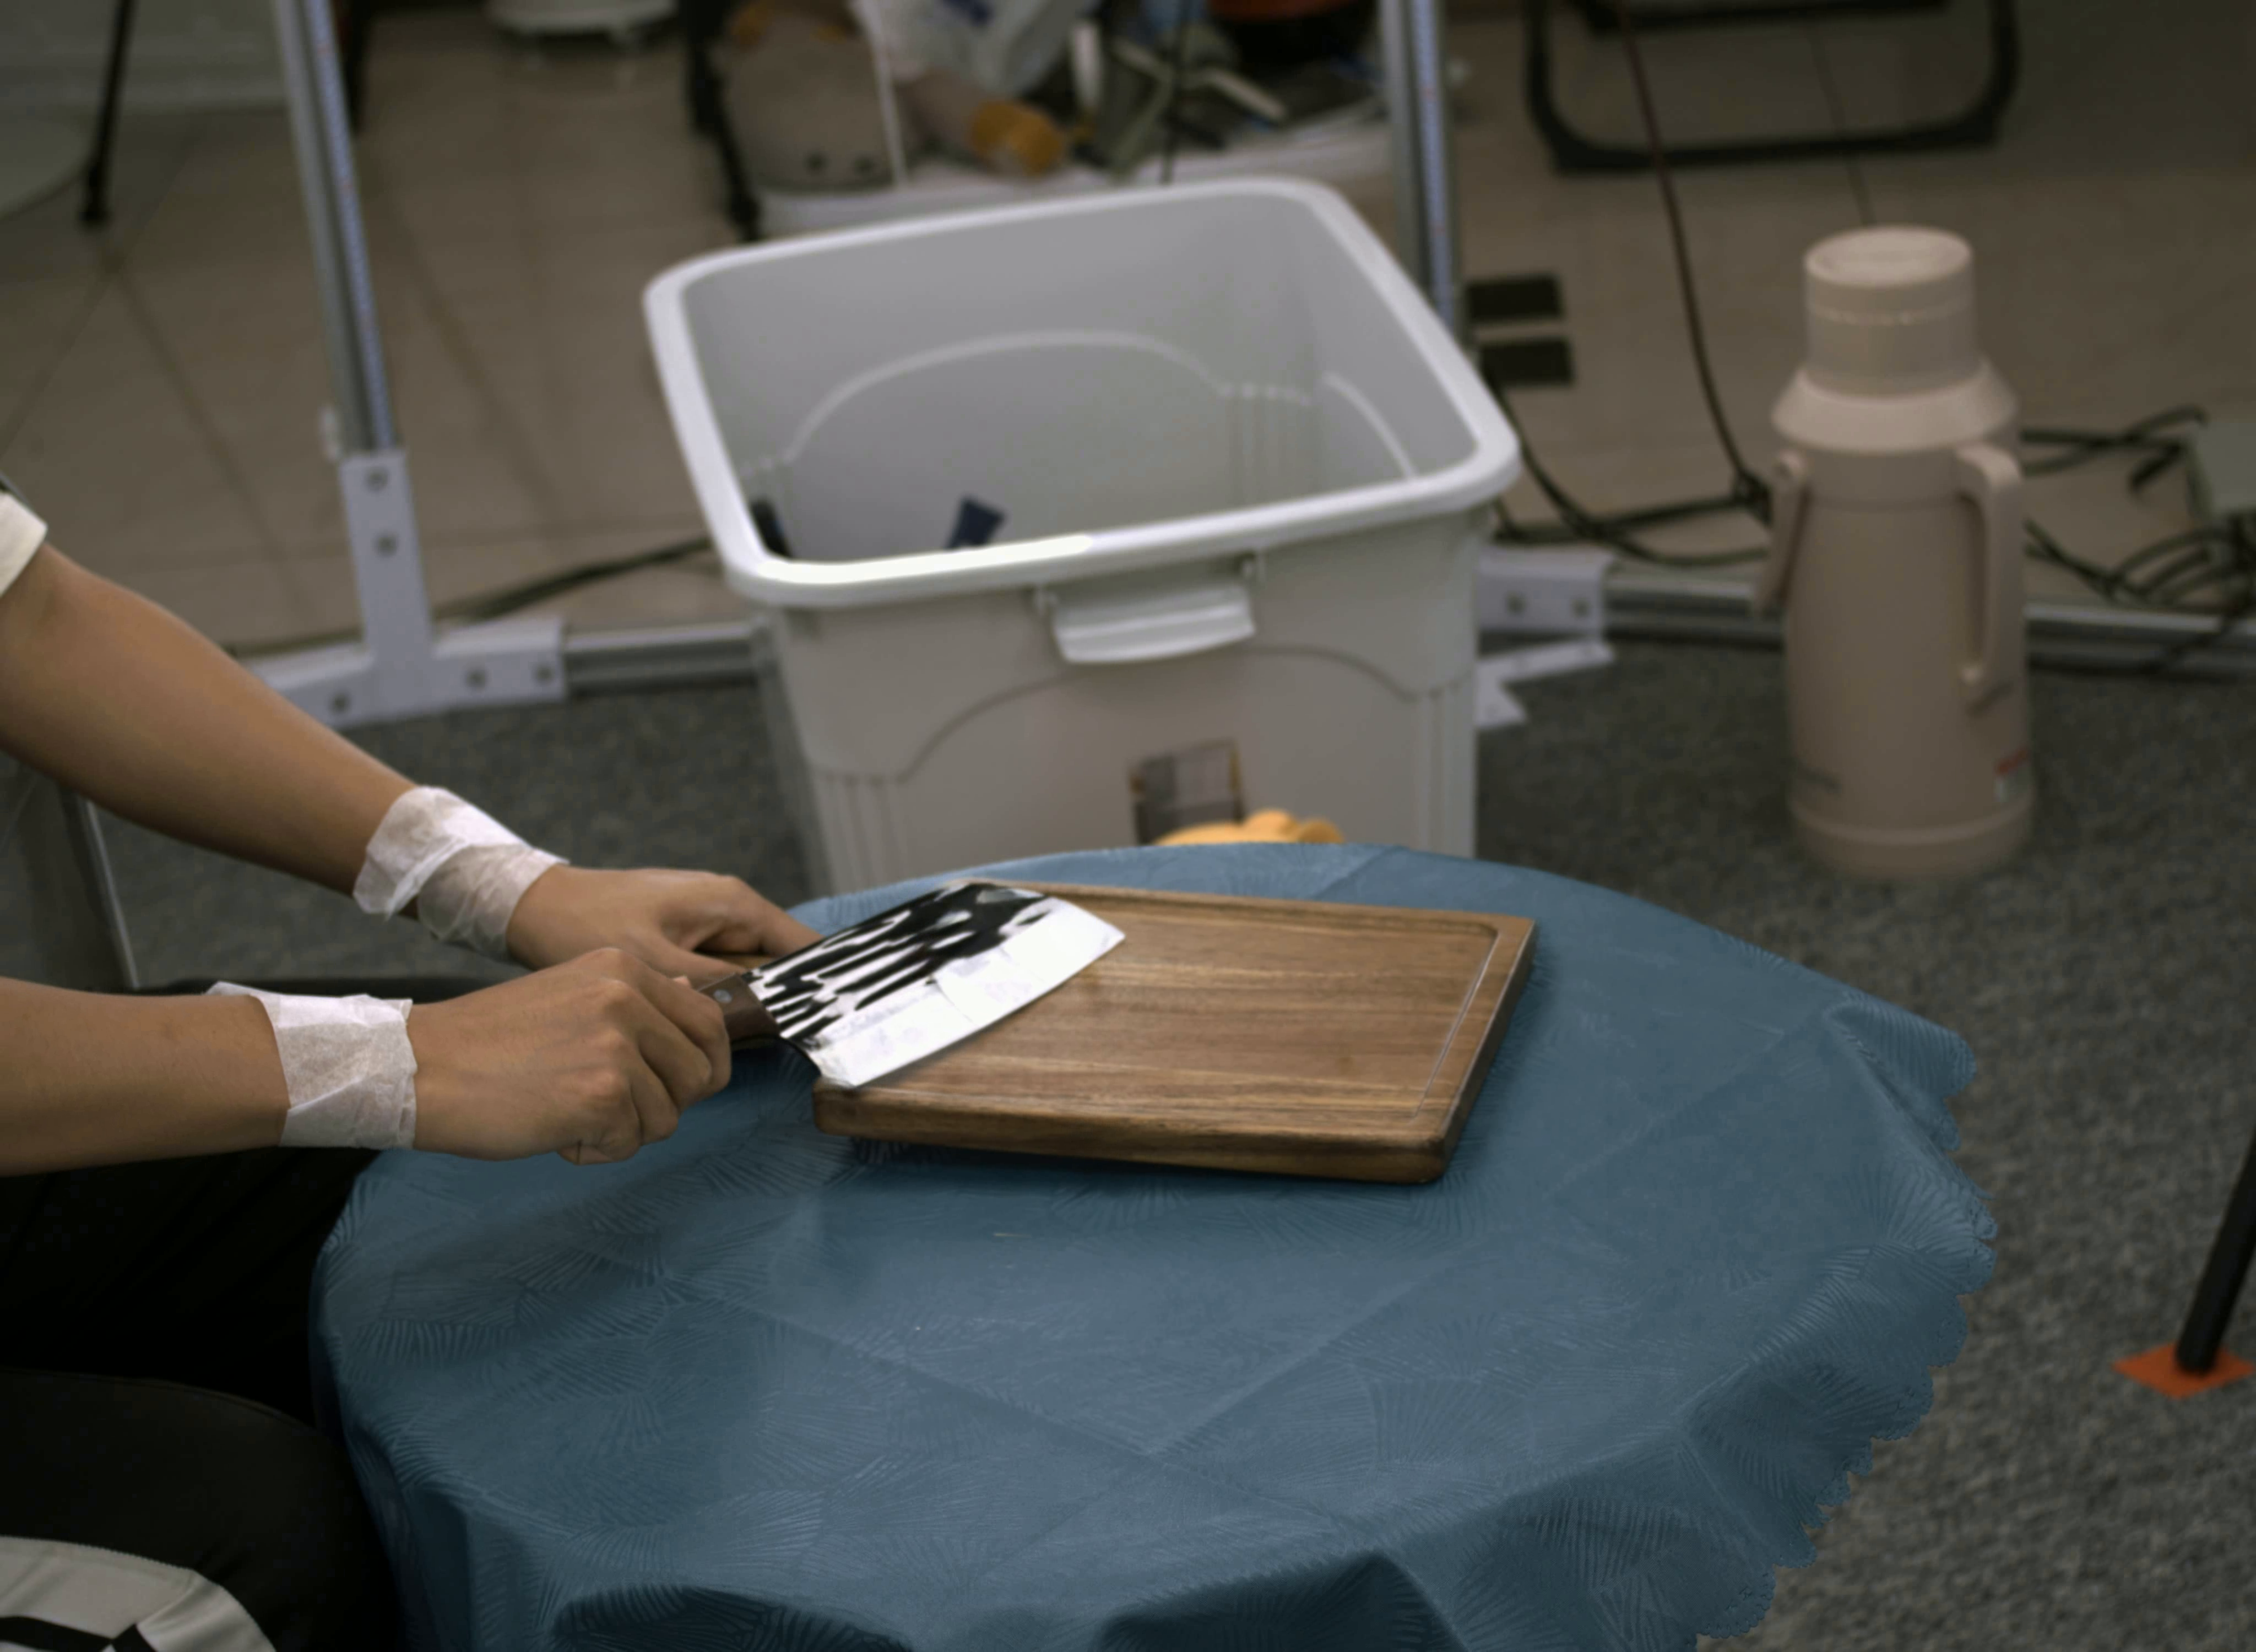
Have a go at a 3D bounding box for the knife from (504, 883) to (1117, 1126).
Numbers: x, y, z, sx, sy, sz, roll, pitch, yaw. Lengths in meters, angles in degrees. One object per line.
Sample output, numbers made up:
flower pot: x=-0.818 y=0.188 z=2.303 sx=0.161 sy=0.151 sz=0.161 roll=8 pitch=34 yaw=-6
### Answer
knife: x=-0.117 y=0.071 z=2.199 sx=0.067 sy=0.024 sz=0.297 roll=44 pitch=41 yaw=22

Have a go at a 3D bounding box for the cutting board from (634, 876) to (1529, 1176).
cutting board: x=-0.028 y=0.073 z=2.250 sx=0.351 sy=0.023 sz=0.198 roll=3 pitch=26 yaw=14
